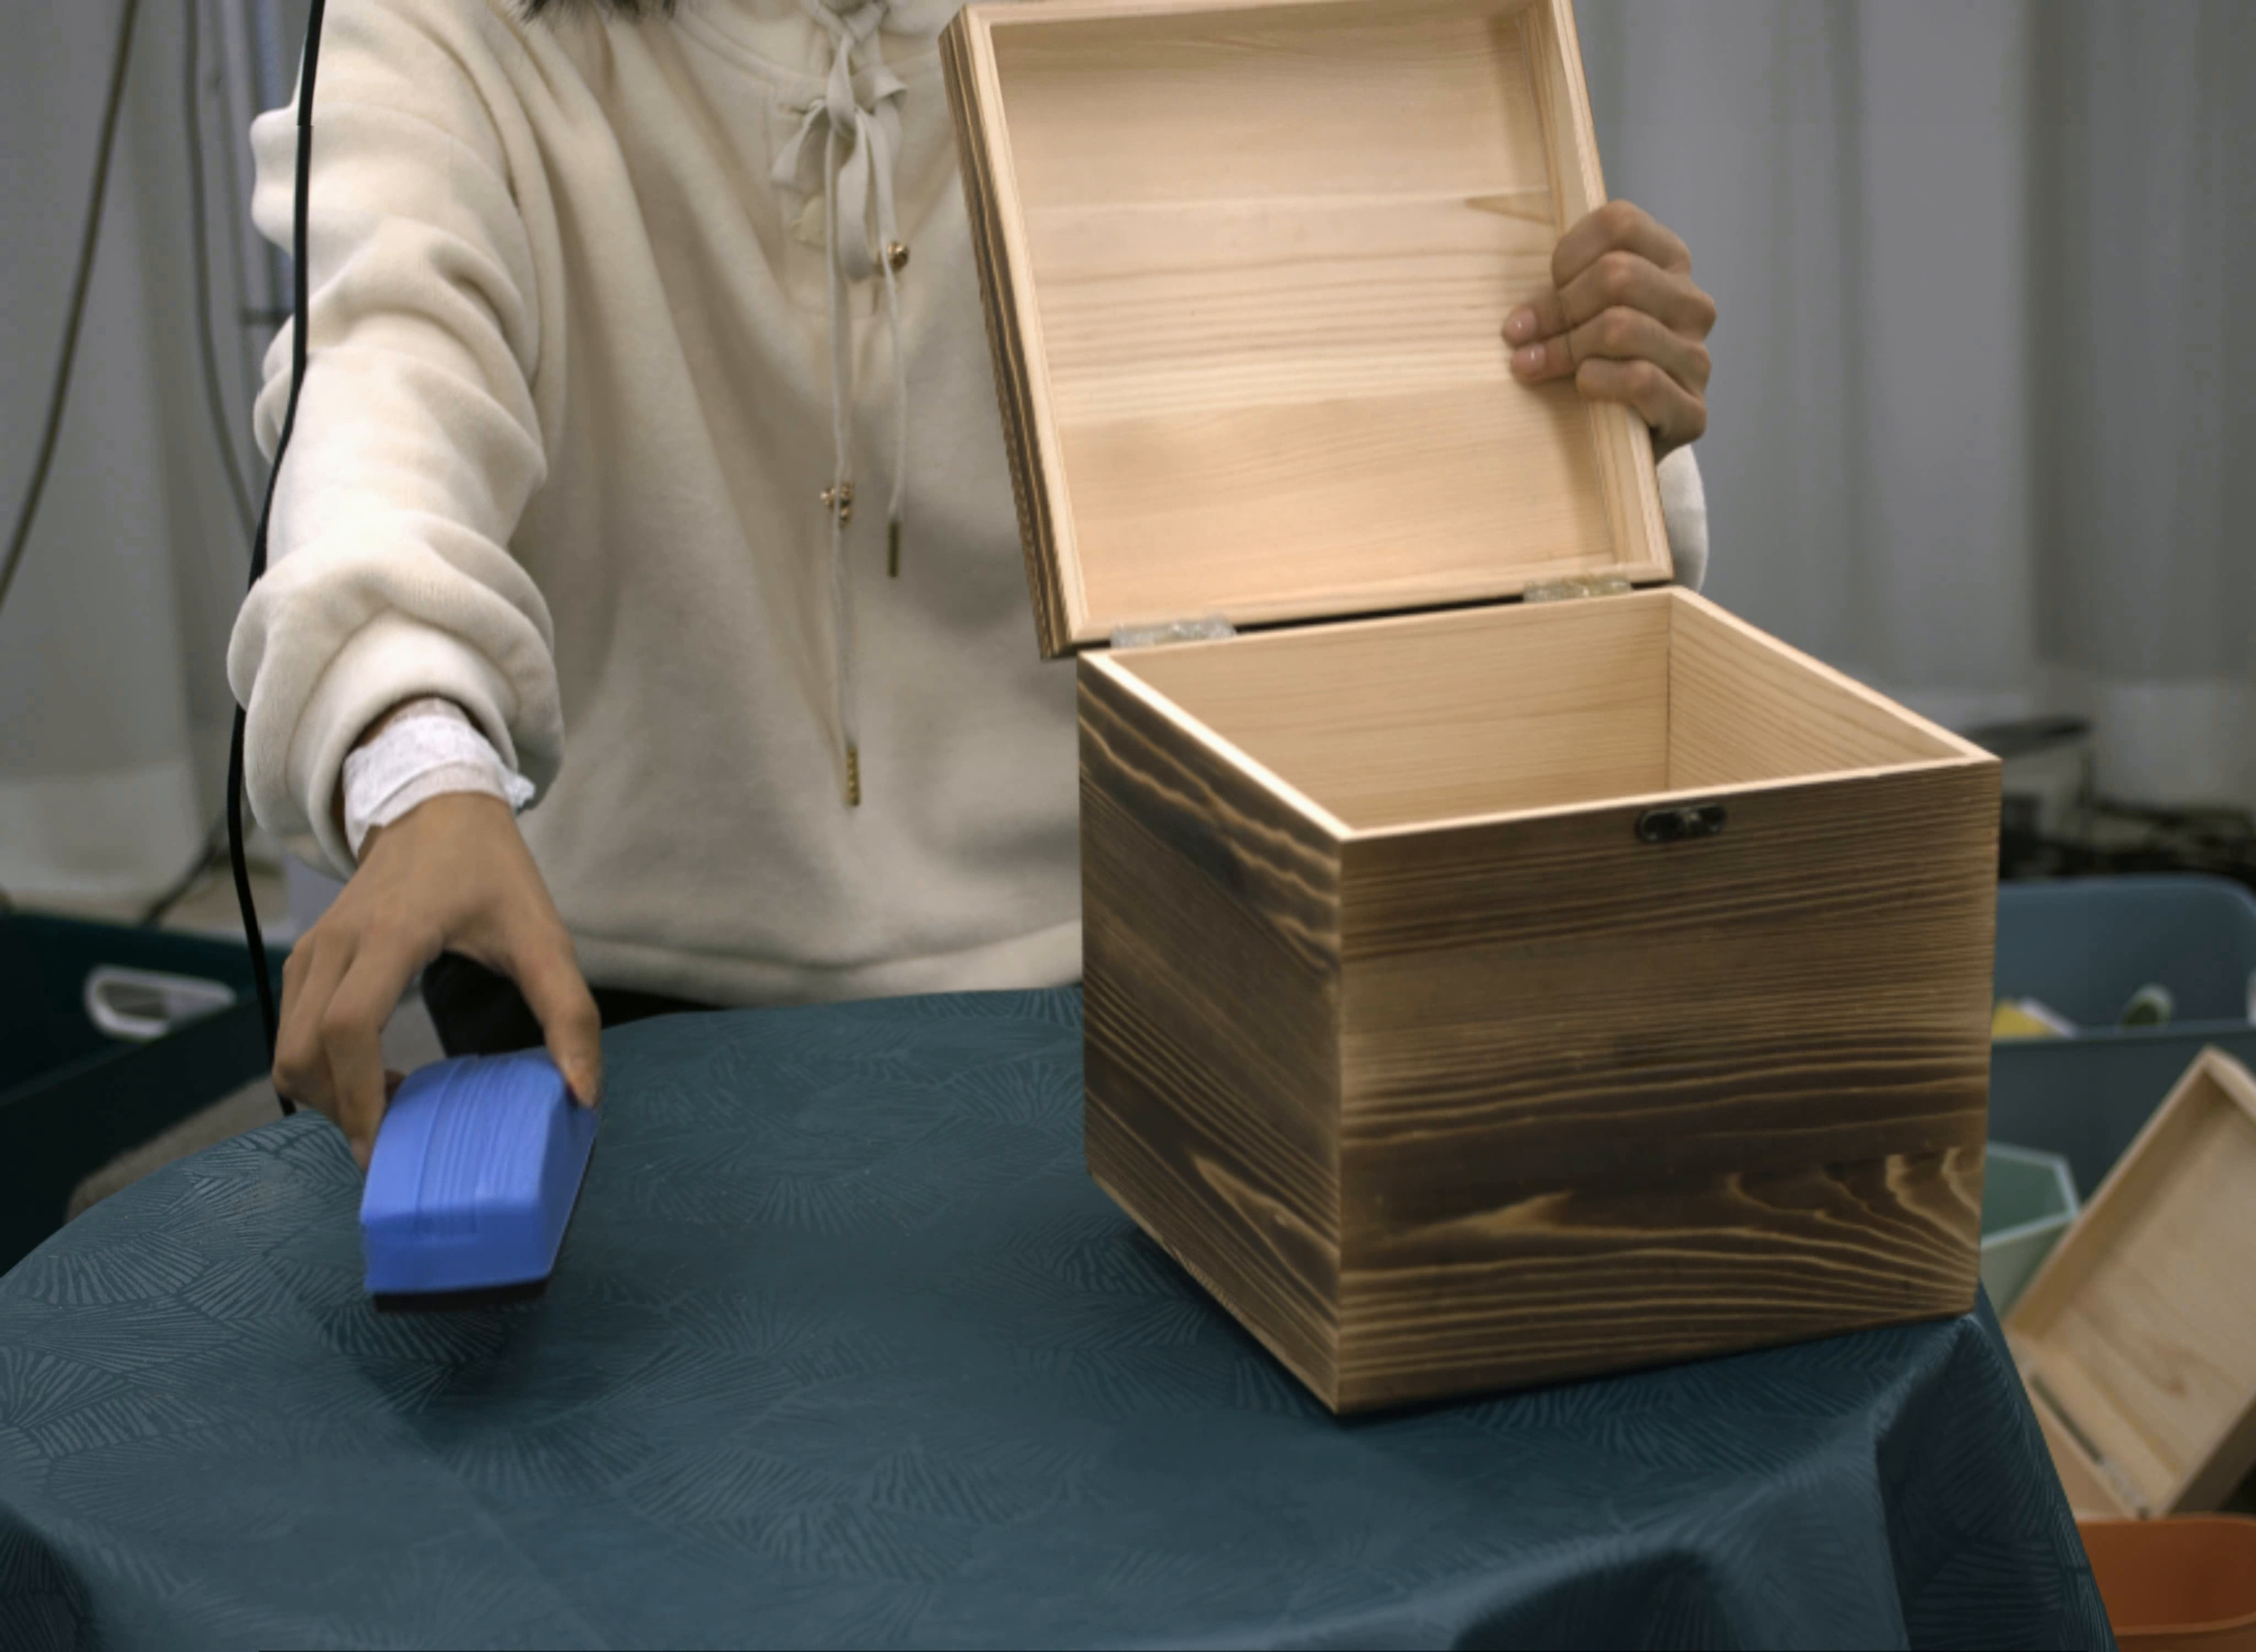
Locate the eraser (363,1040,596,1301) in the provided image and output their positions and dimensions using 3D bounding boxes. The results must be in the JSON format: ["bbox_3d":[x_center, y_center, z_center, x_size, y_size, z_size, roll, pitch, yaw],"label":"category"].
[{"bbox_3d":[-0.191,0.095,1.617,0.053,0.047,0.163,-6,13,1],"label":"eraser"}]

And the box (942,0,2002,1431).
[{"bbox_3d":[0.094,-0.062,1.621,0.208,0.373,0.325,-7,17,-20],"label":"box"}]
